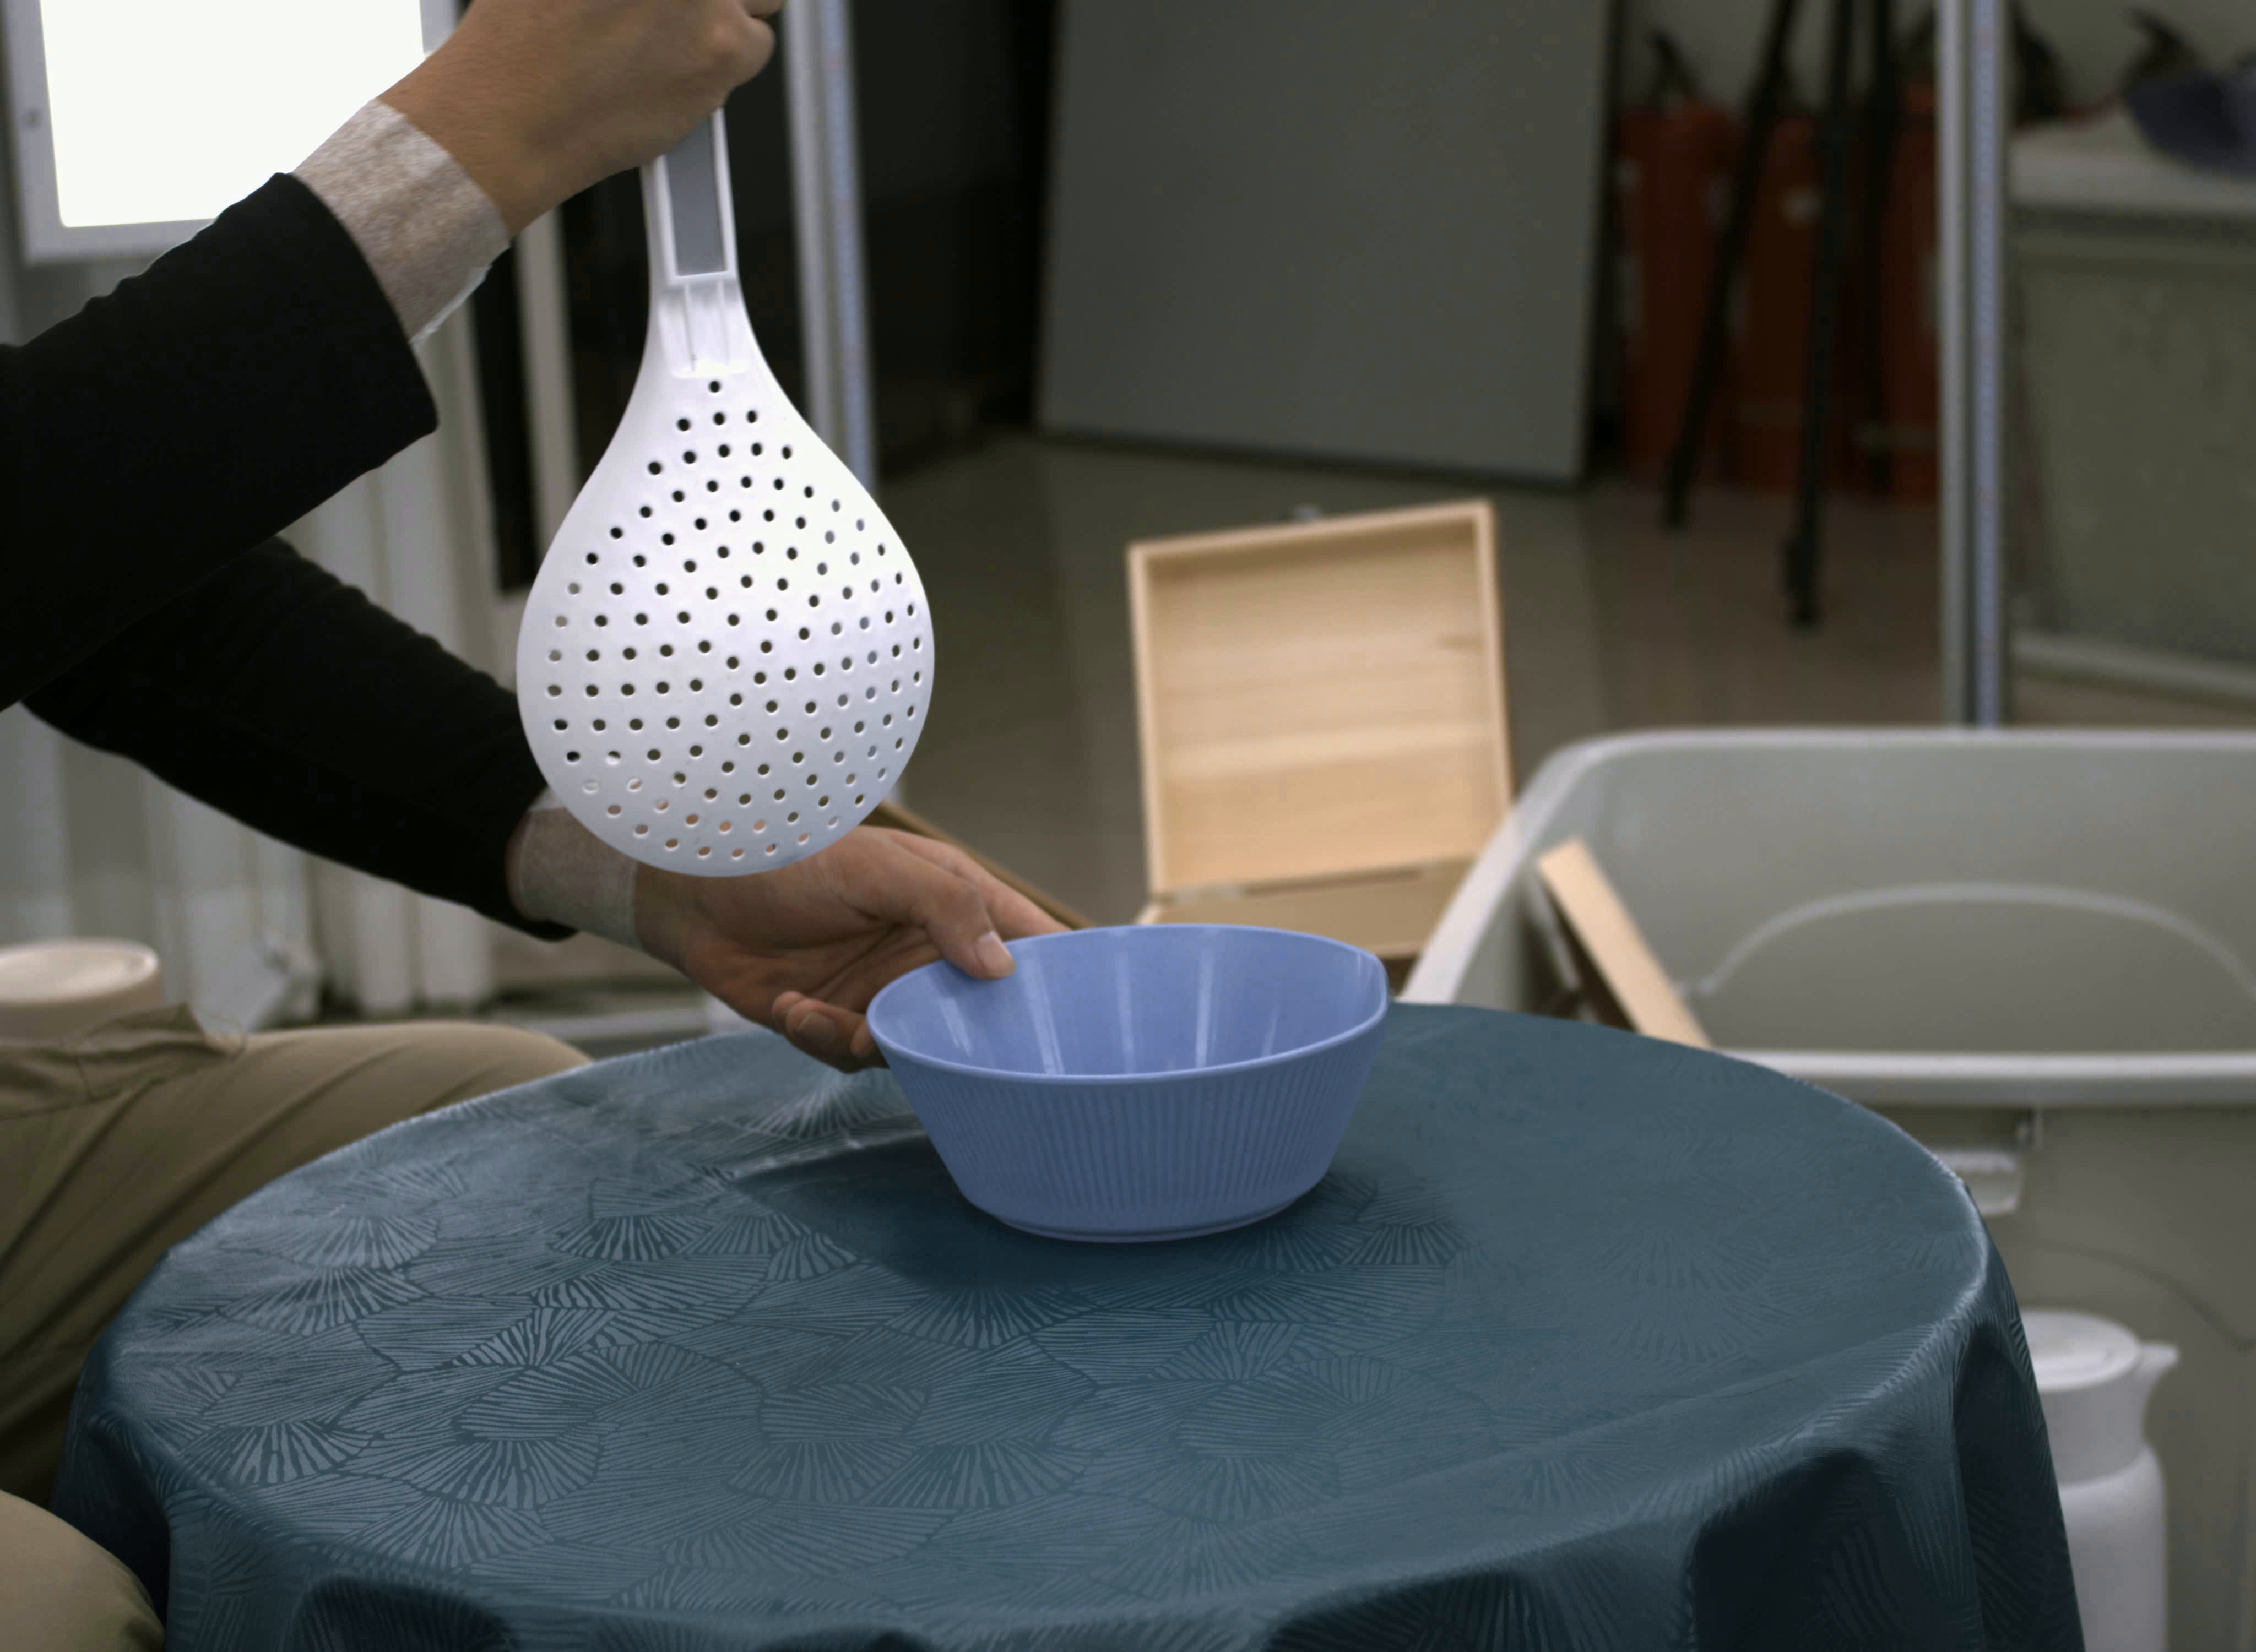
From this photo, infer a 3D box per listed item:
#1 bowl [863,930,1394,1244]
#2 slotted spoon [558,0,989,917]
[{"bbox_3d":[0.003,0.087,1.761,0.174,0.071,0.176,-5,14,0],"label":"bowl"},{"bbox_3d":[-0.123,-0.146,1.639,0.134,0.354,0.046,-10,4,-9],"label":"slotted spoon"}]
